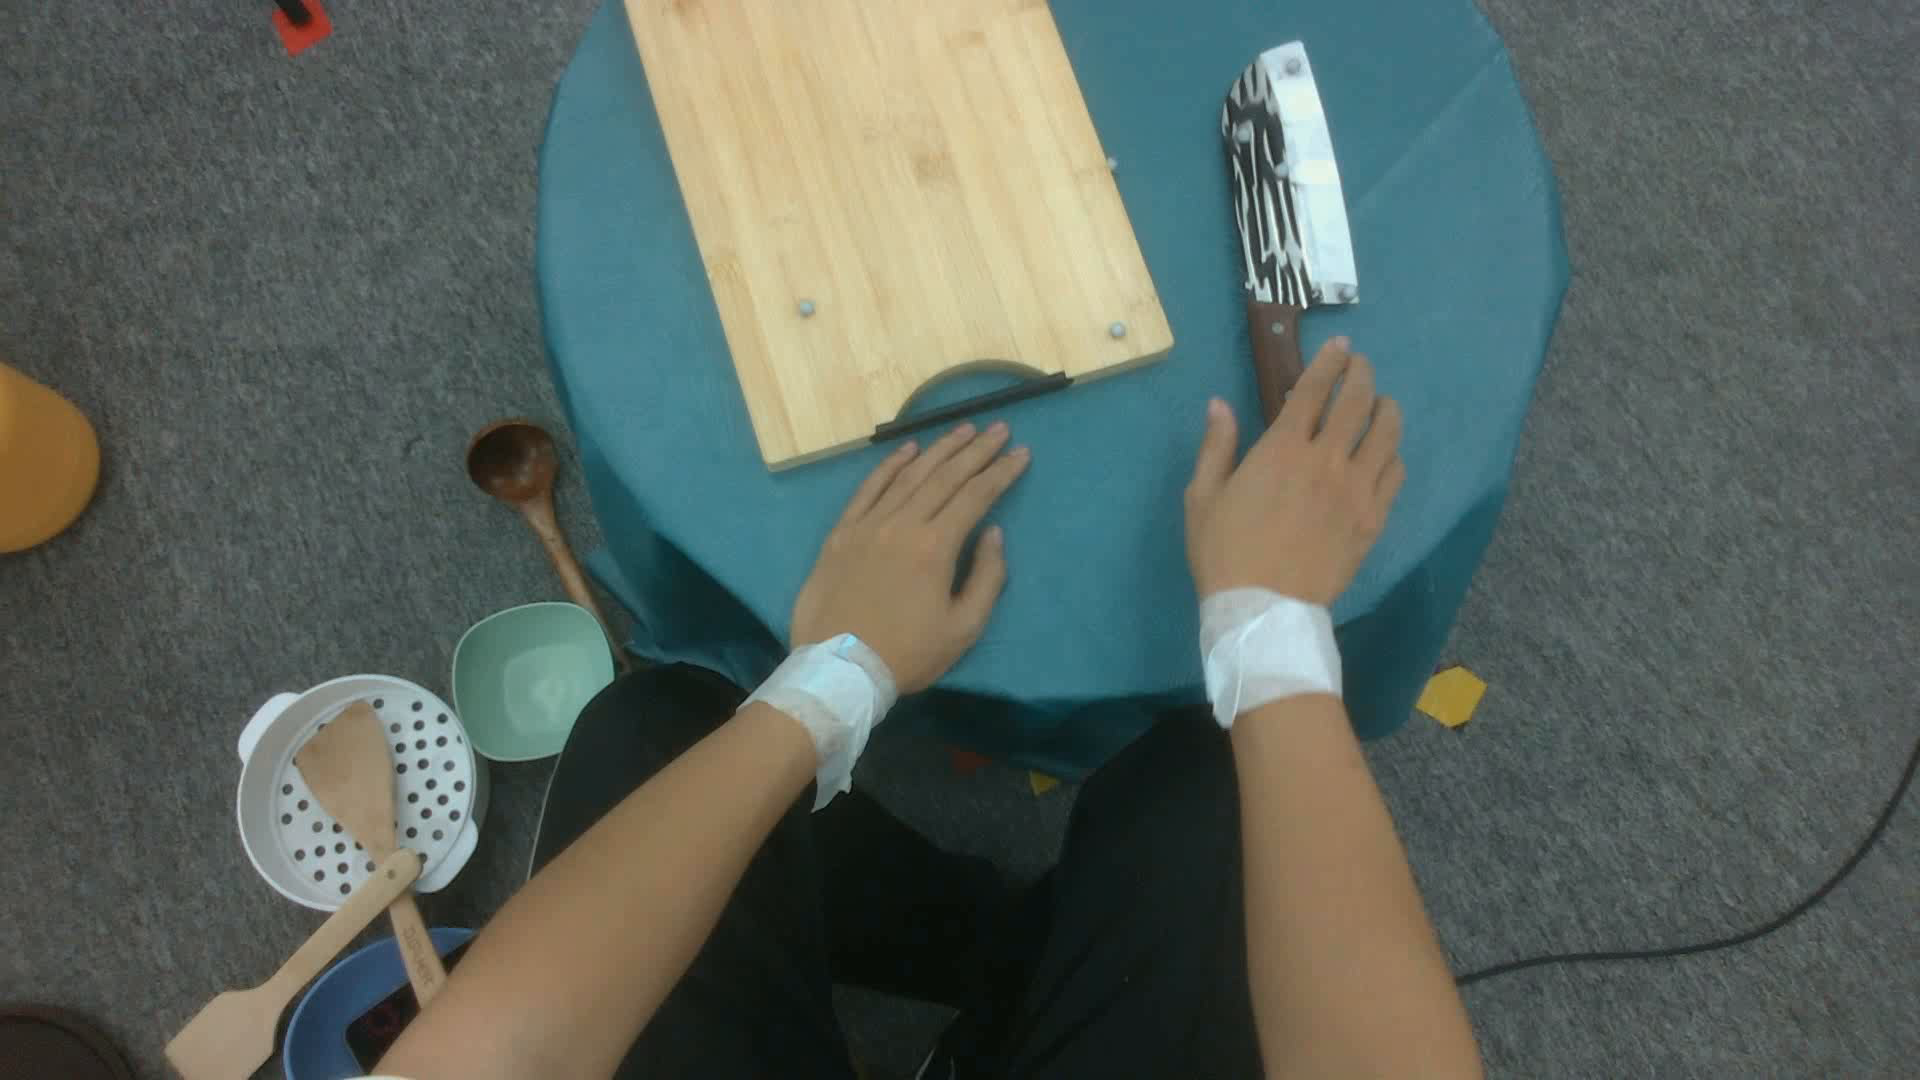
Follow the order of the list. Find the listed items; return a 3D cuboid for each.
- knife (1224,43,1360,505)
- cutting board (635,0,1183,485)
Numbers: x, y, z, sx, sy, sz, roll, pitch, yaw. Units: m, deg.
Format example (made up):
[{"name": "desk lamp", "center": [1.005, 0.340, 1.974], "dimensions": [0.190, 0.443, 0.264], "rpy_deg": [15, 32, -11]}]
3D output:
[{"name": "knife", "center": [0.198, -0.164, 0.806], "dimensions": [0.068, 0.024, 0.300], "rpy_deg": [-2, 72, -4]}, {"name": "cutting board", "center": [-0.039, -0.227, 0.818], "dimensions": [0.251, 0.023, 0.349], "rpy_deg": [-18, 77, -6]}]
